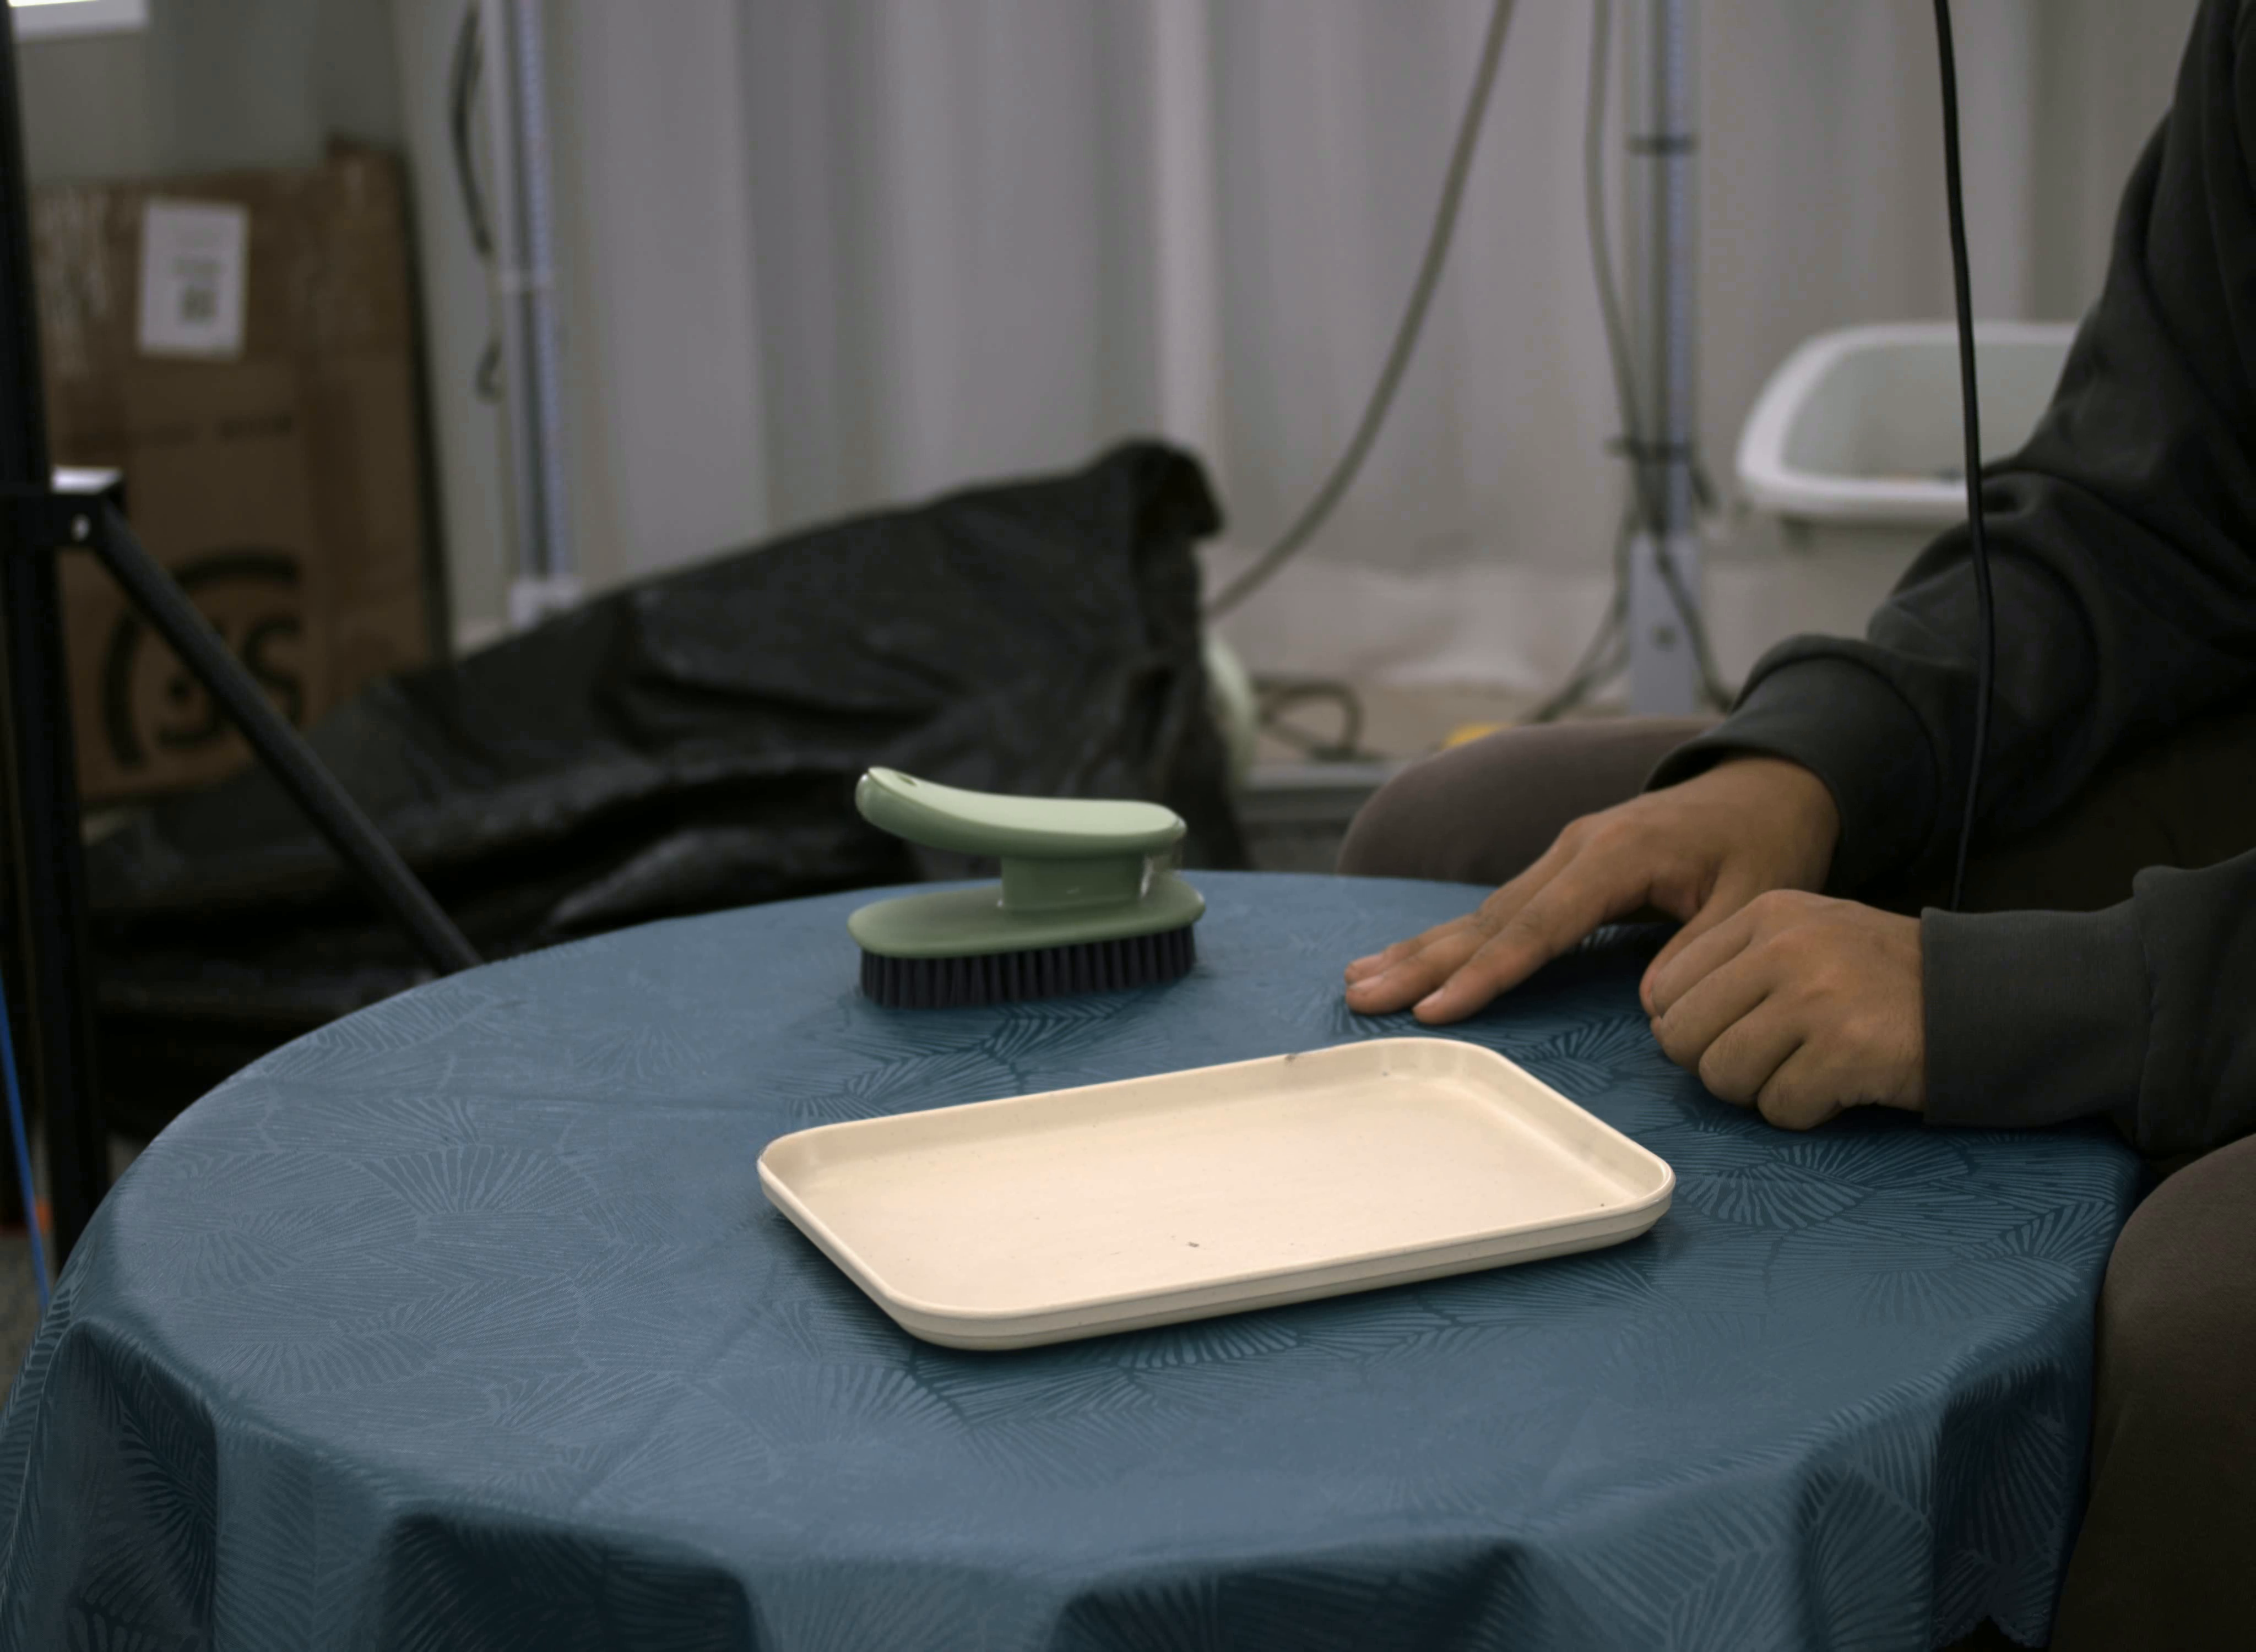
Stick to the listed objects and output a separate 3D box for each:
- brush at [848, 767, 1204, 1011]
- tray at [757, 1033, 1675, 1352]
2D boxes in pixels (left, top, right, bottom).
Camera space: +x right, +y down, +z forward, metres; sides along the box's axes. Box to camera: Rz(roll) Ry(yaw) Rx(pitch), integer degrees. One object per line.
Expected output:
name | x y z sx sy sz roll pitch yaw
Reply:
brush | -0.035 0.025 1.757 0.120 0.076 0.060 8 12 -18
tray | 0.024 0.105 1.530 0.235 0.017 0.174 -8 17 -19
